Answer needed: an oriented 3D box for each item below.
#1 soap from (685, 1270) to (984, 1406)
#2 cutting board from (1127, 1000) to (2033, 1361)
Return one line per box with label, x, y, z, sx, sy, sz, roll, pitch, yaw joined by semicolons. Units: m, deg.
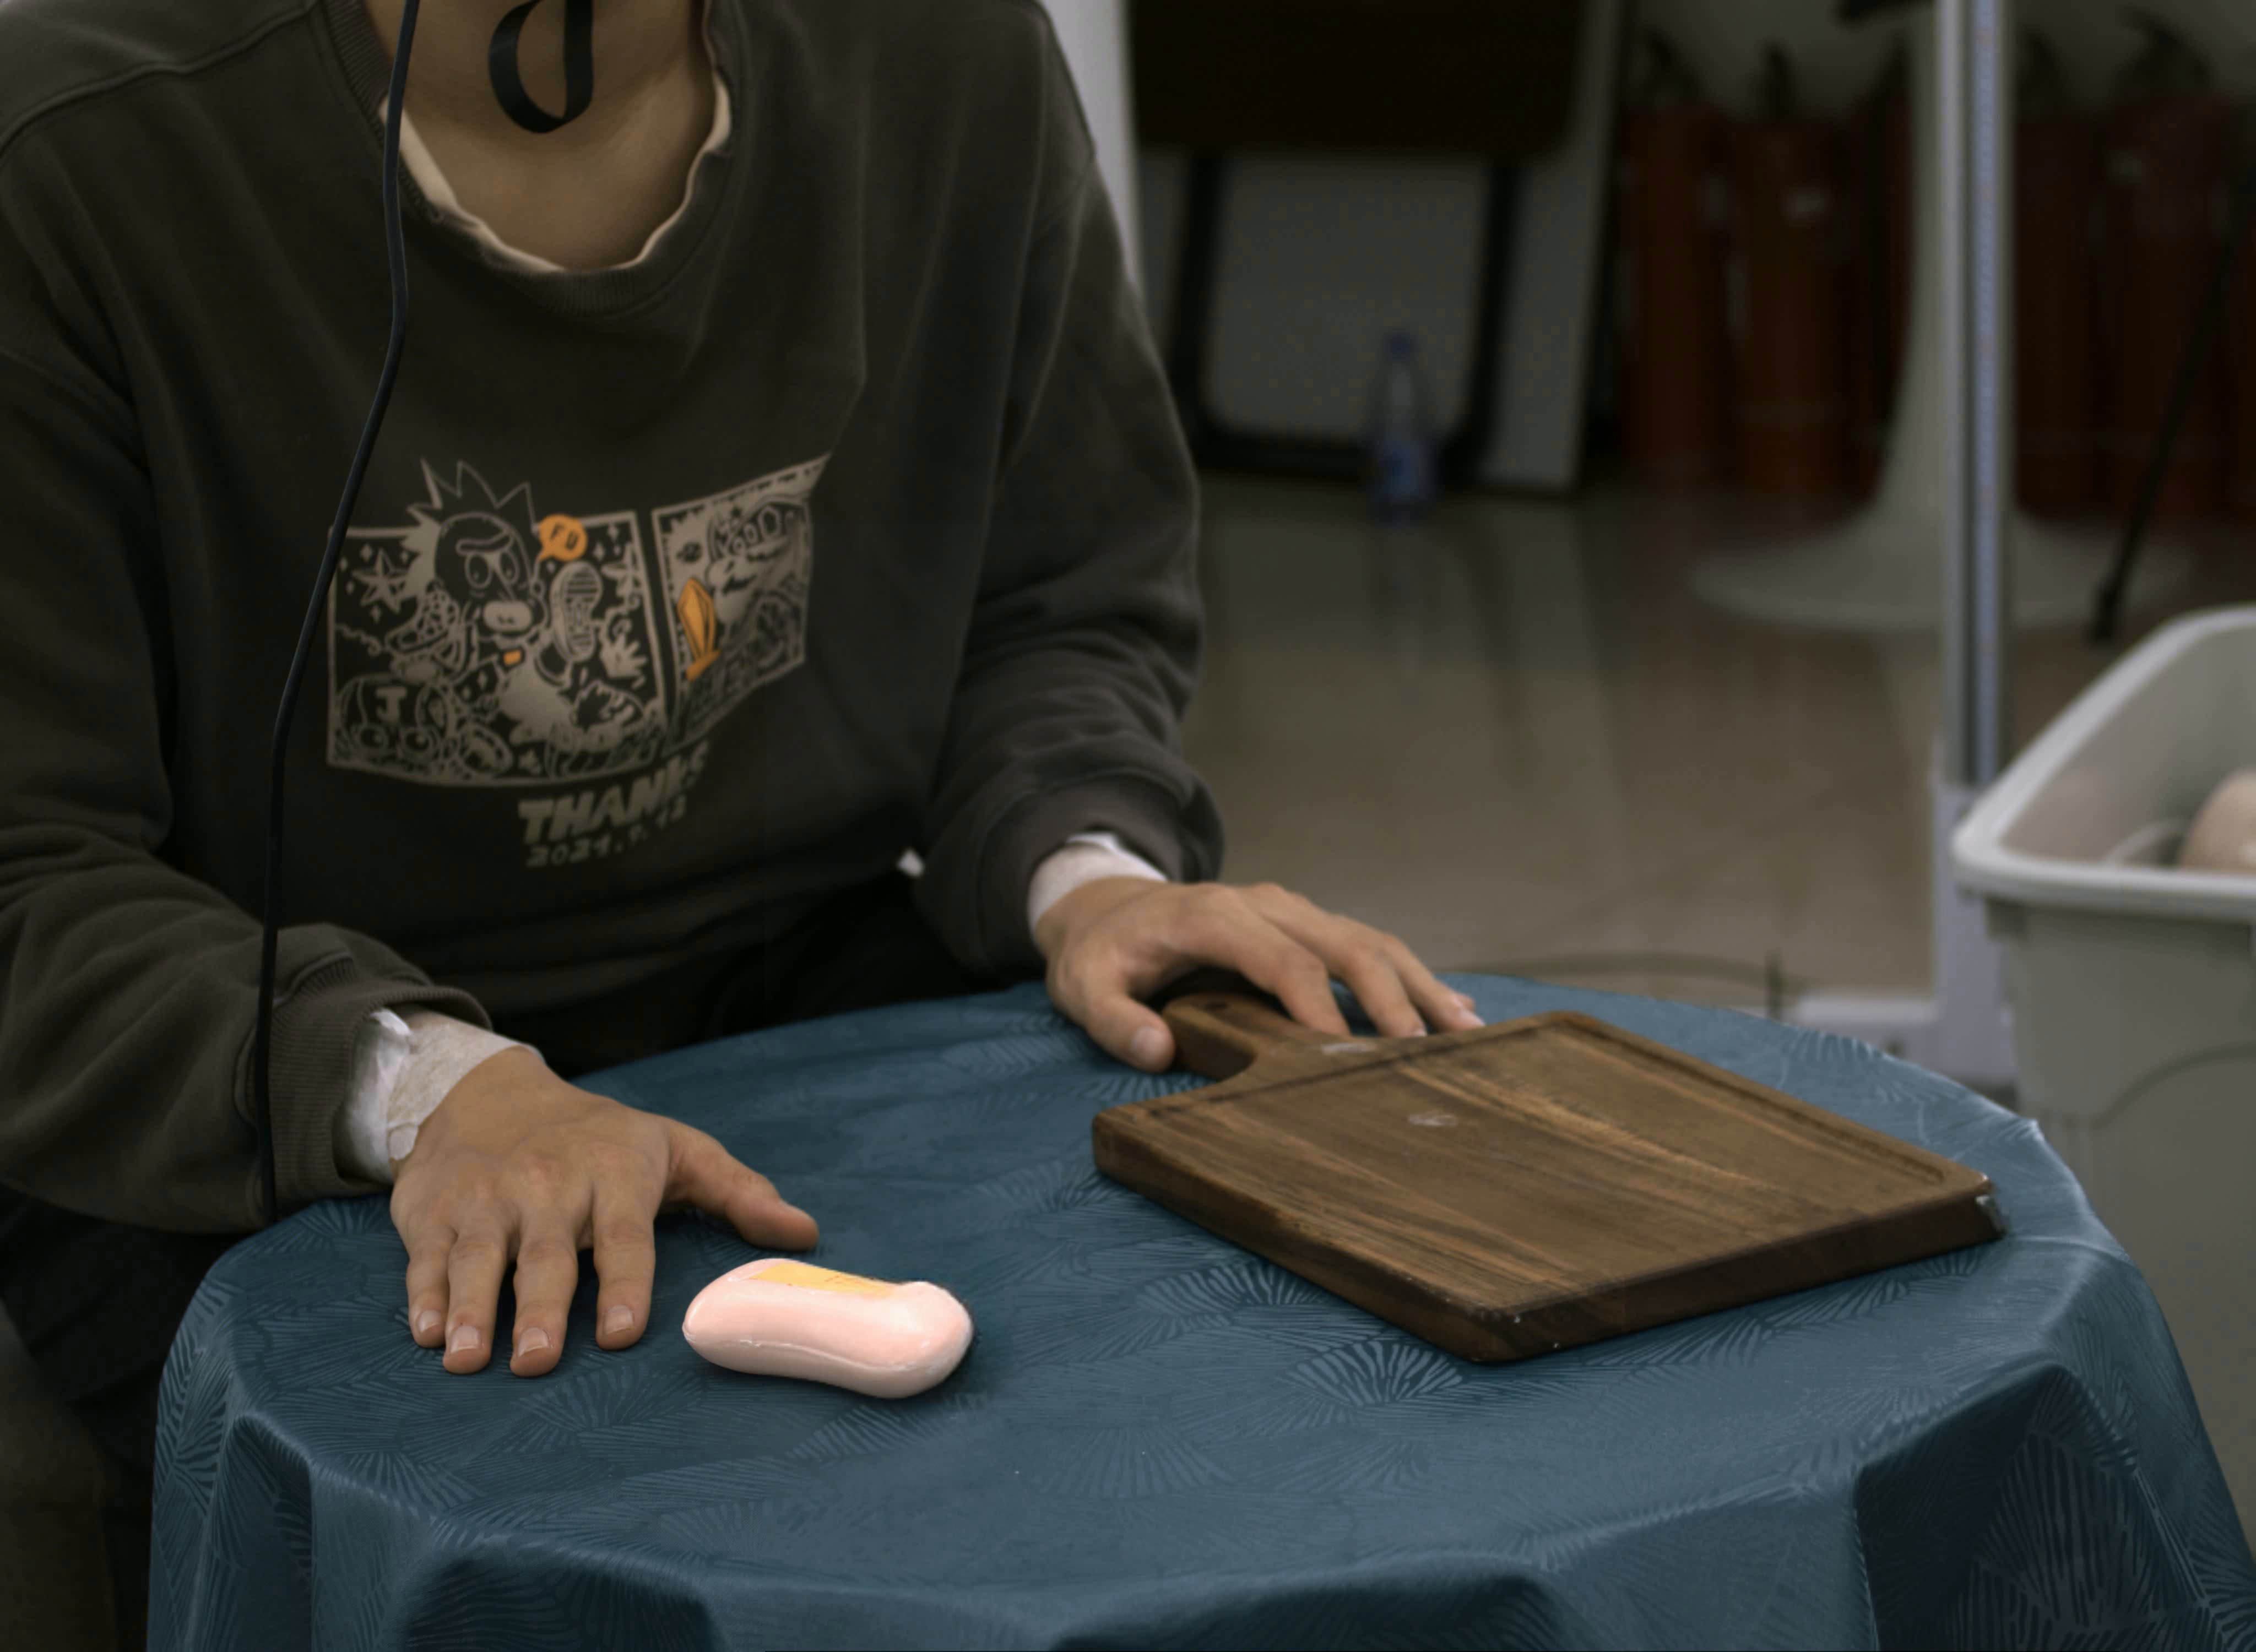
soap;-0.088;0.153;1.615;0.095;0.031;0.049;4;15;36
cutting board;0.118;0.103;1.774;0.197;0.023;0.356;-11;15;-25
